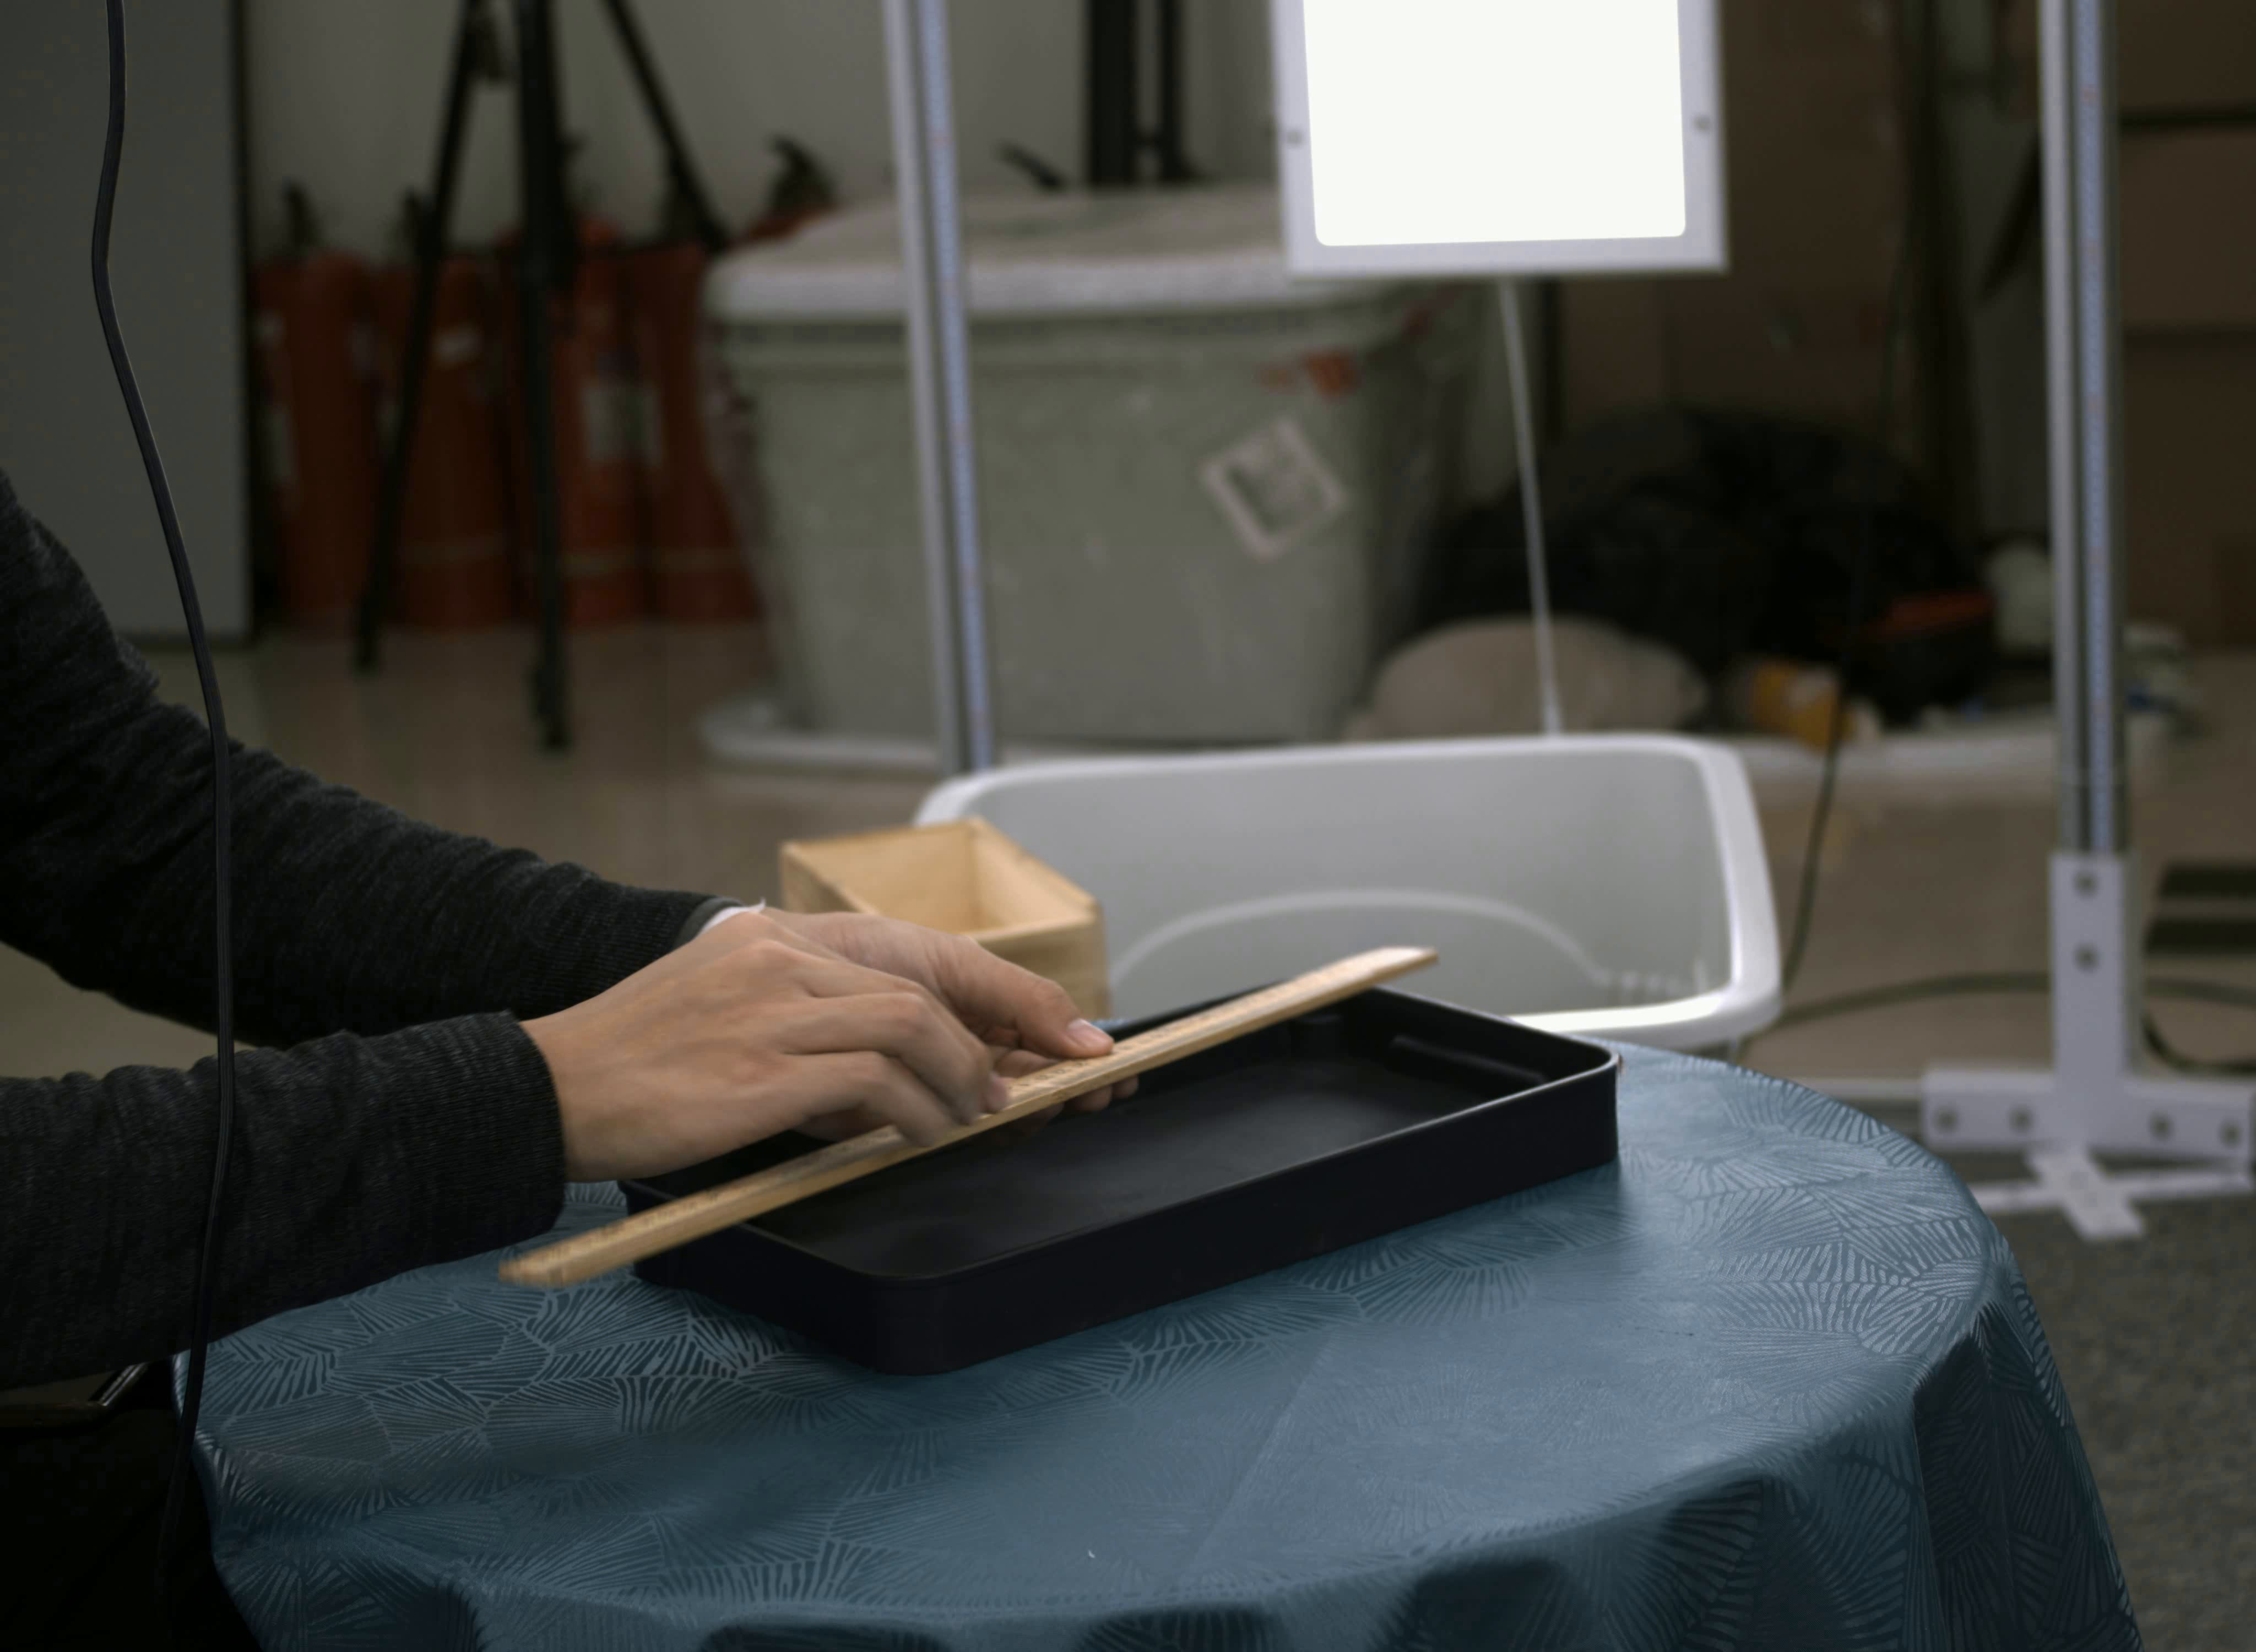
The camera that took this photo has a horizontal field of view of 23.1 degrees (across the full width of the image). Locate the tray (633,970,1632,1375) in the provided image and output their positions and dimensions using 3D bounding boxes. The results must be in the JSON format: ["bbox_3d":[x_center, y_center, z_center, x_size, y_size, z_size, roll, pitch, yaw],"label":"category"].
[{"bbox_3d":[0.005,0.113,1.878,0.310,0.037,0.188,-15,17,-34],"label":"tray"}]

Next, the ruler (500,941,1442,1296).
[{"bbox_3d":[-0.035,0.088,1.787,0.027,0.006,0.488,-2,9,36],"label":"ruler"}]
